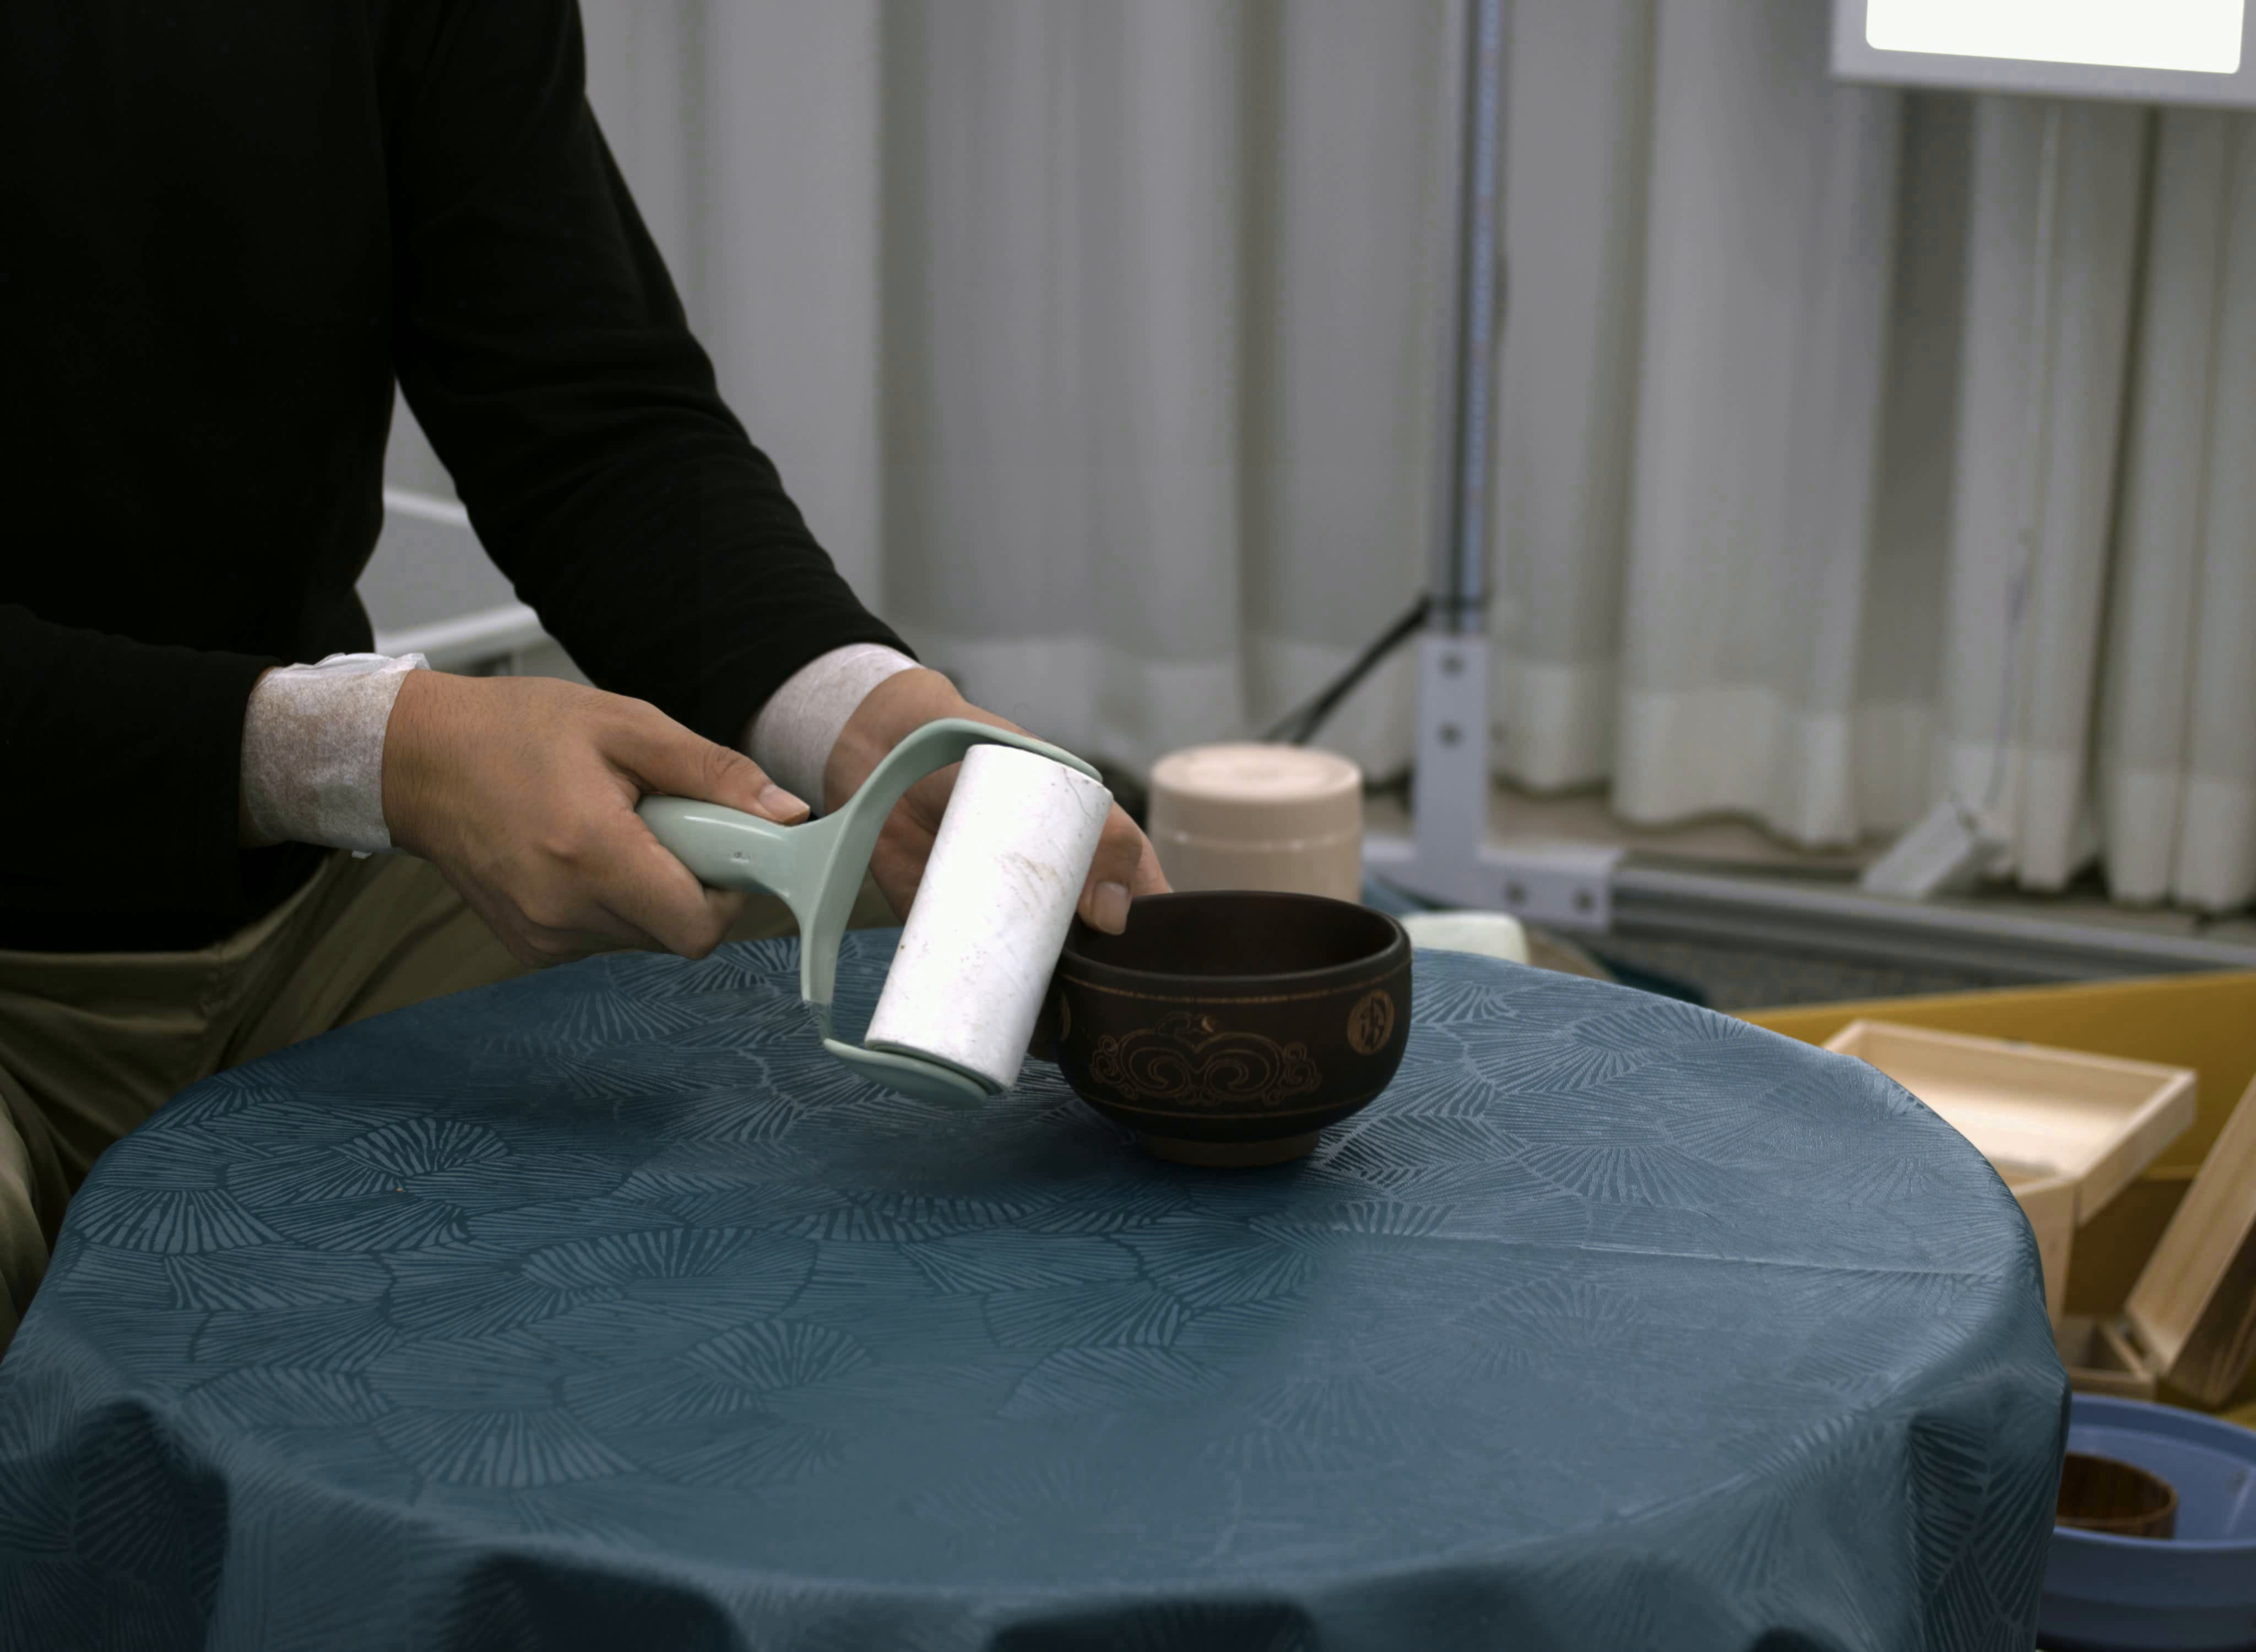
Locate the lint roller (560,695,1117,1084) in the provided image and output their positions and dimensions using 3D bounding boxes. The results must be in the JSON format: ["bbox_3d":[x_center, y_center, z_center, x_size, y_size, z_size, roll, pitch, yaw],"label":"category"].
[{"bbox_3d":[-0.102,0.009,1.655,0.195,0.116,0.049,12,-14,28],"label":"lint roller"}]

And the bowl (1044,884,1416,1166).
[{"bbox_3d":[0.032,0.066,1.653,0.117,0.070,0.117,-1,14,1],"label":"bowl"}]
